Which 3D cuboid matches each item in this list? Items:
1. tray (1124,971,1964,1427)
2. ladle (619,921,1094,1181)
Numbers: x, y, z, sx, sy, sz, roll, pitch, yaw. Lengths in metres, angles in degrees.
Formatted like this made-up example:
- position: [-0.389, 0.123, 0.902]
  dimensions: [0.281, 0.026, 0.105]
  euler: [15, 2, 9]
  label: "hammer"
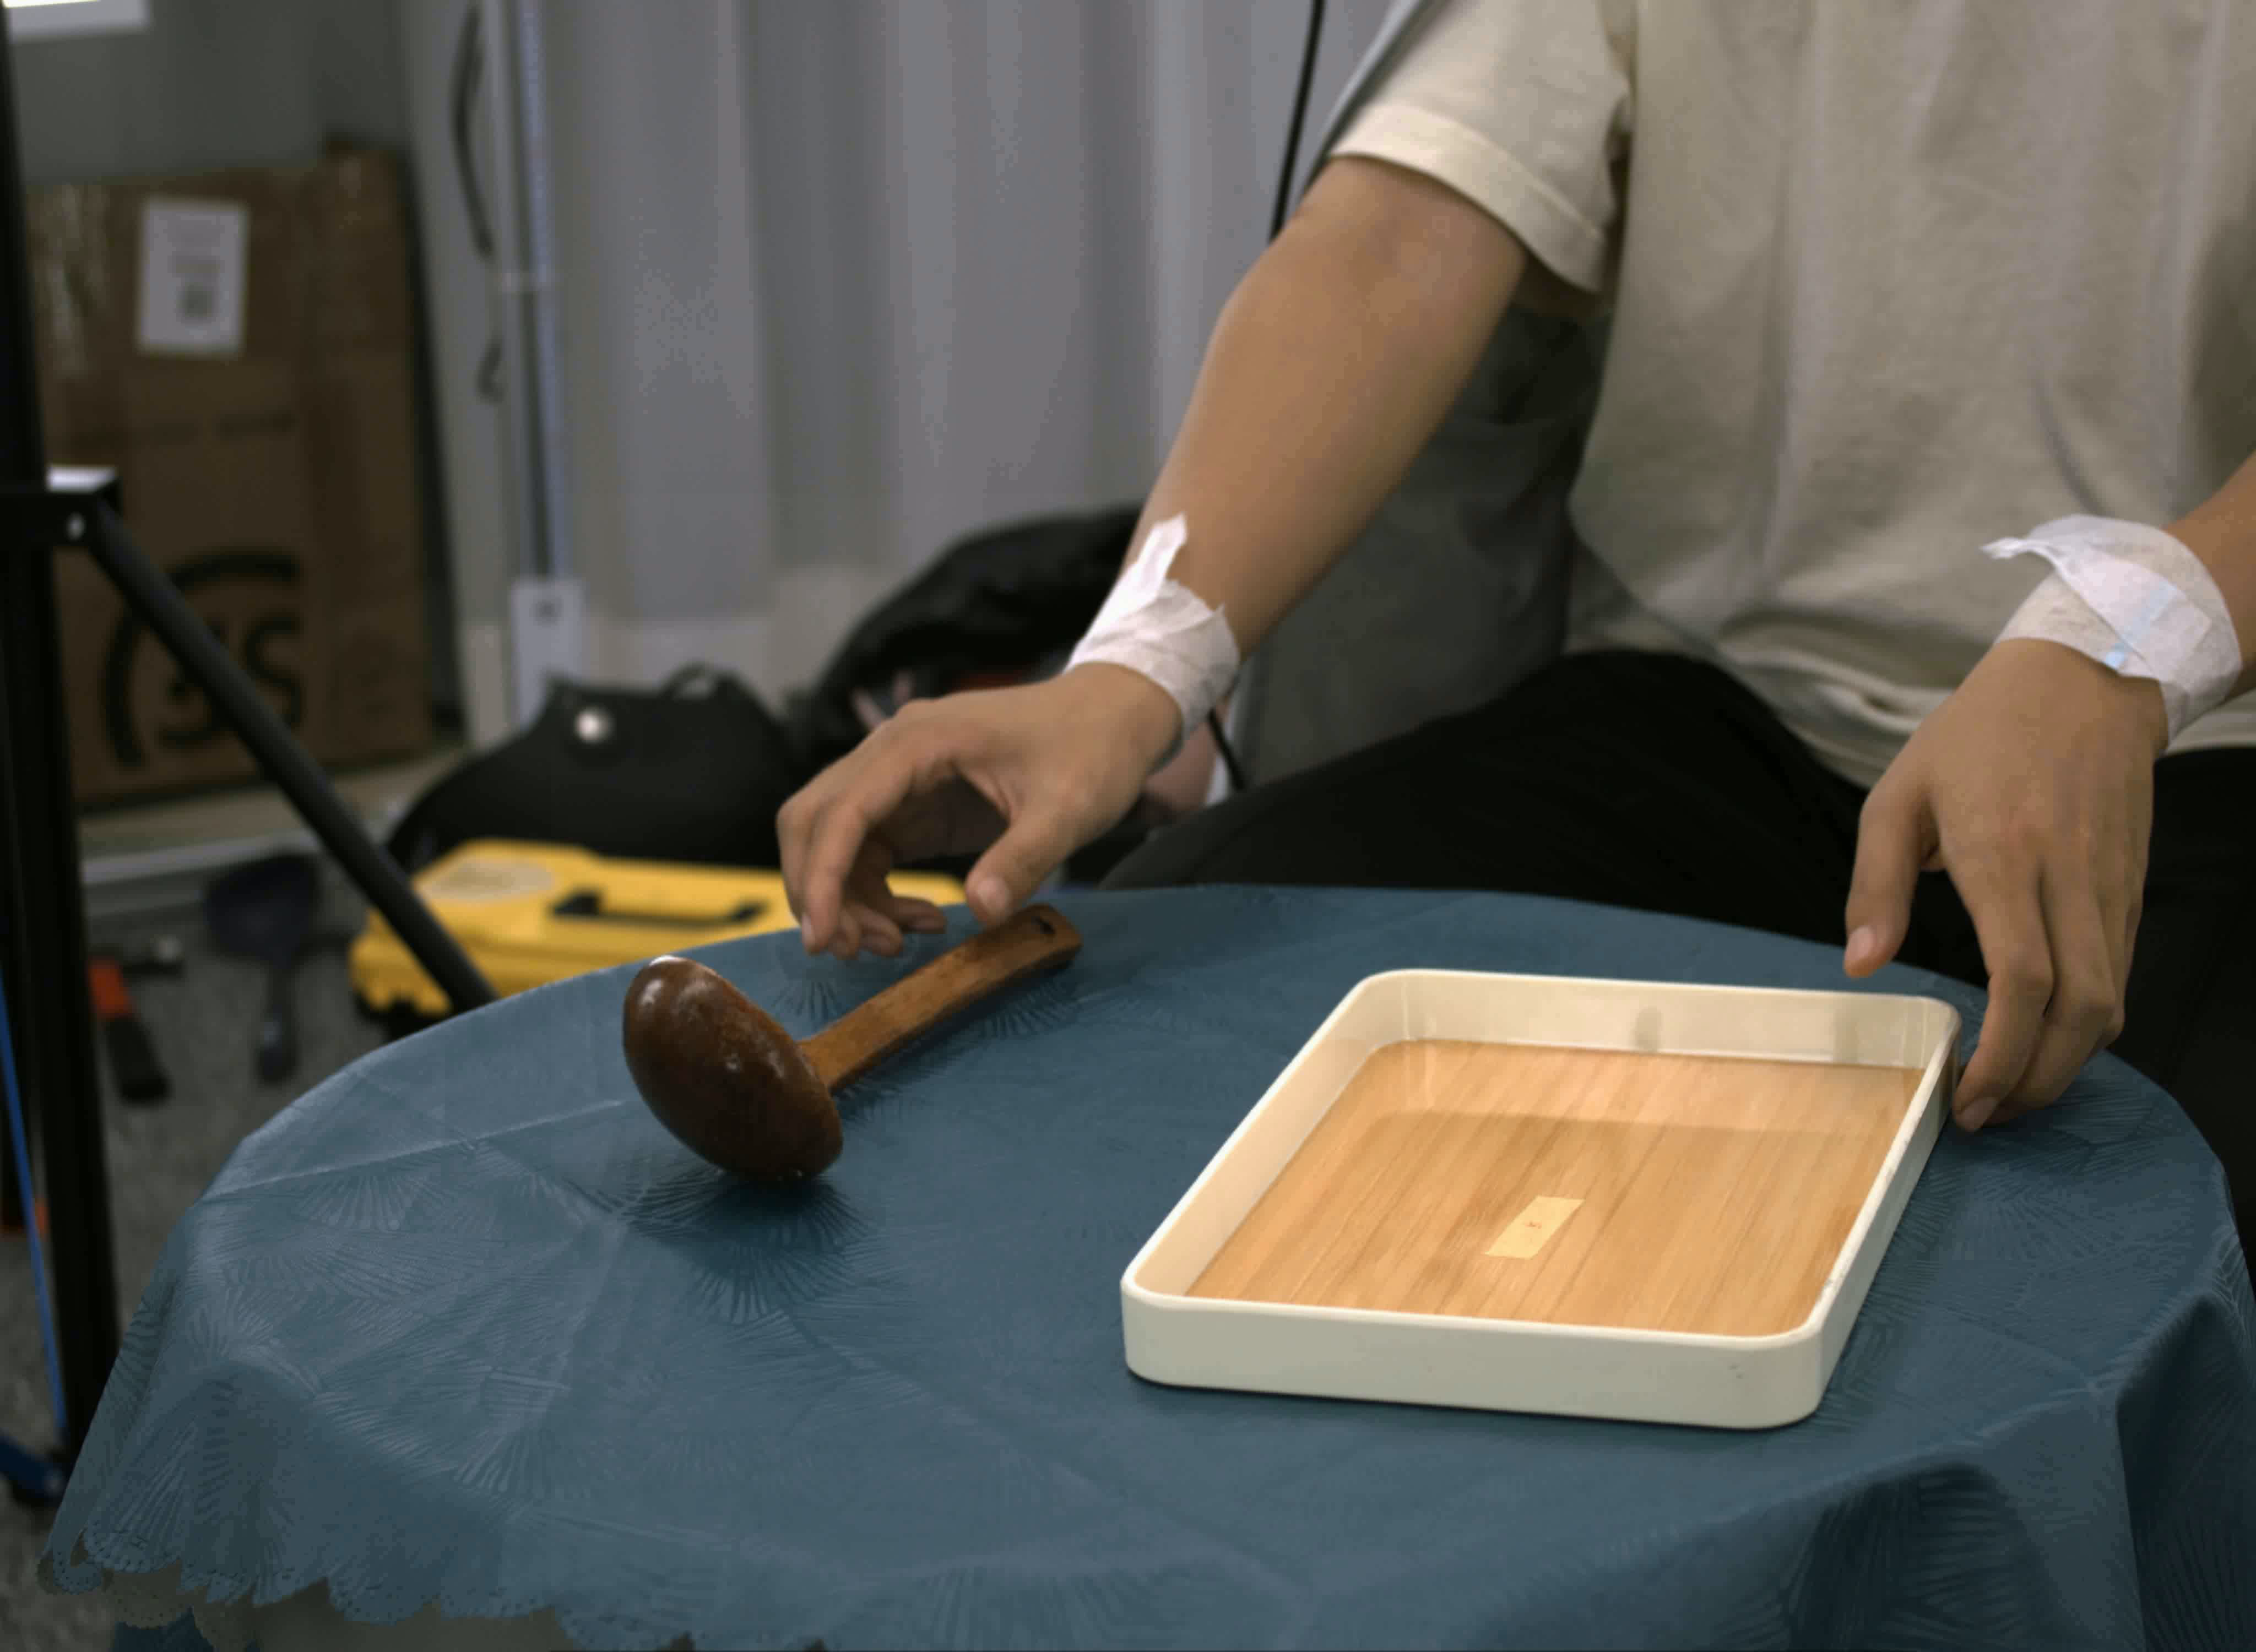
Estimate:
- position: [0.127, 0.101, 1.509]
  dimensions: [0.193, 0.027, 0.297]
  euler: [2, 16, 17]
  label: "tray"
- position: [-0.068, 0.047, 1.654]
  dimensions: [0.083, 0.077, 0.269]
  euler: [46, 31, 11]
  label: "ladle"
